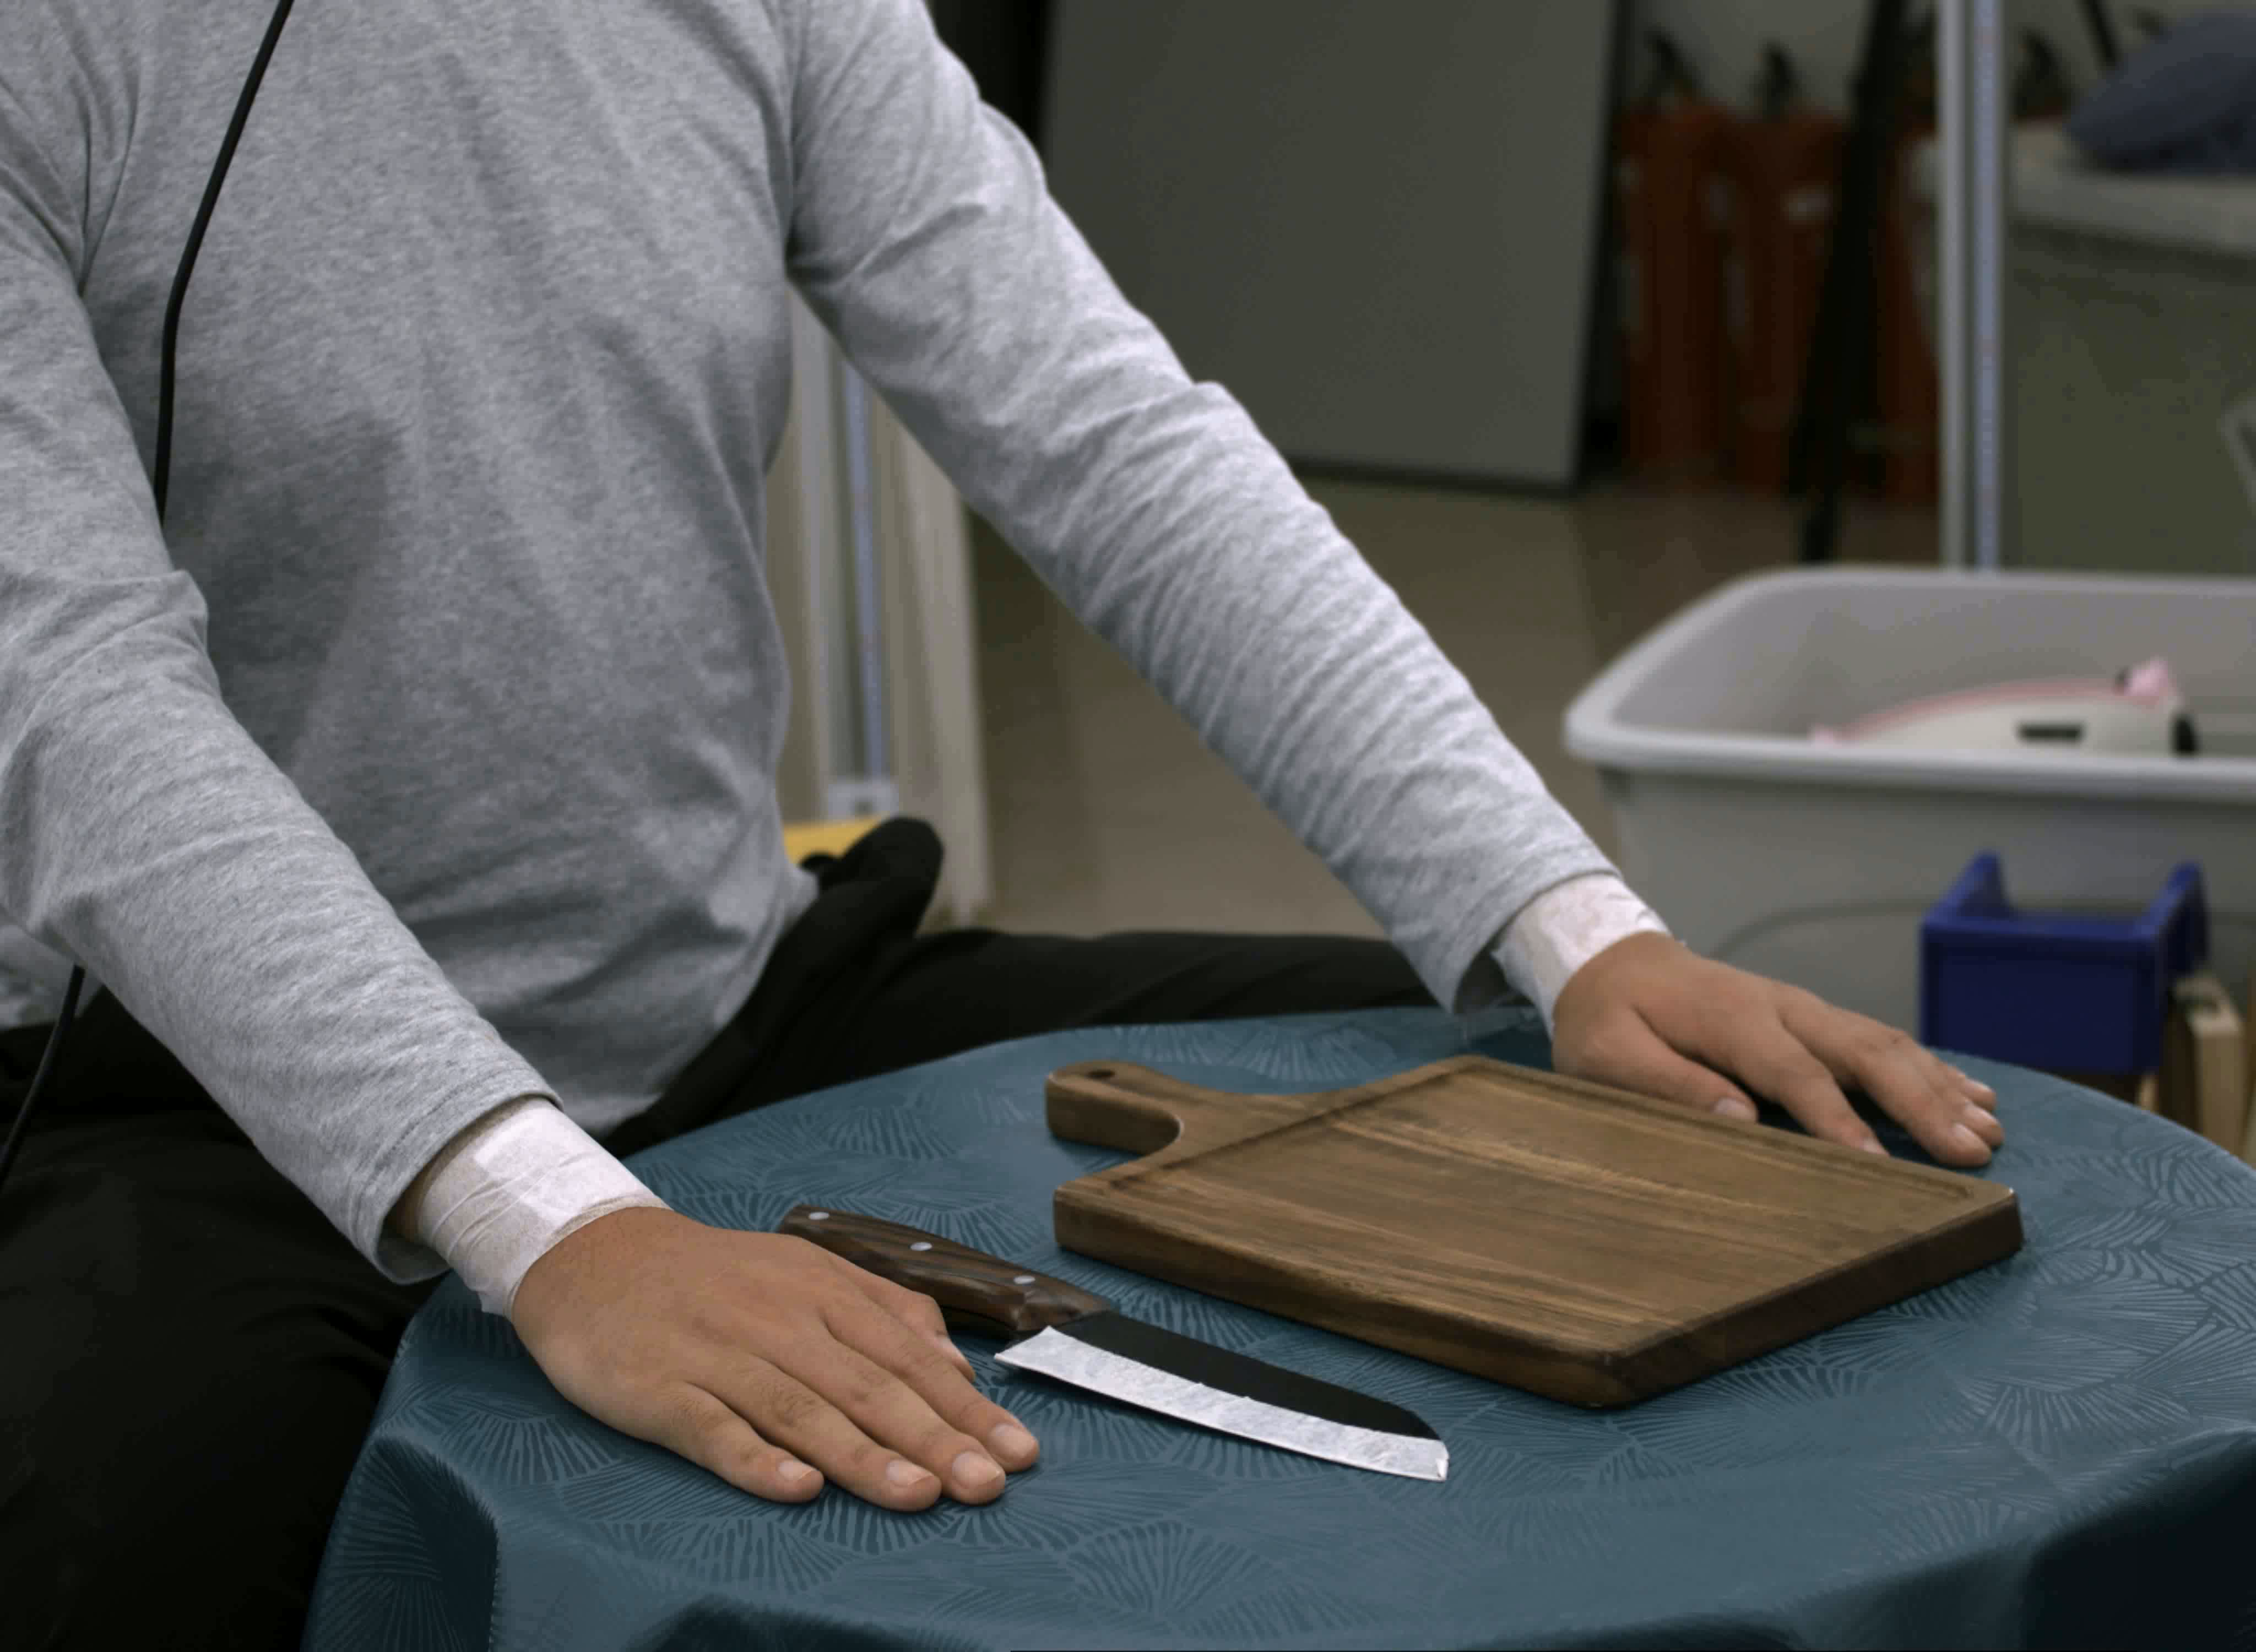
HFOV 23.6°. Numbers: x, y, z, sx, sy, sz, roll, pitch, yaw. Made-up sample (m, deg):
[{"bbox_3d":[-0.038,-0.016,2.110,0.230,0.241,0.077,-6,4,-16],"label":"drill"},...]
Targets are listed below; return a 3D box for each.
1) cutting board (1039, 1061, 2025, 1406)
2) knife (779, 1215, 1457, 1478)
[{"bbox_3d":[0.094,0.116,1.725,0.197,0.023,0.356,-14,17,-39],"label":"cutting board"},{"bbox_3d":[-0.007,0.156,1.604,0.049,0.020,0.292,-22,24,-38],"label":"knife"}]
